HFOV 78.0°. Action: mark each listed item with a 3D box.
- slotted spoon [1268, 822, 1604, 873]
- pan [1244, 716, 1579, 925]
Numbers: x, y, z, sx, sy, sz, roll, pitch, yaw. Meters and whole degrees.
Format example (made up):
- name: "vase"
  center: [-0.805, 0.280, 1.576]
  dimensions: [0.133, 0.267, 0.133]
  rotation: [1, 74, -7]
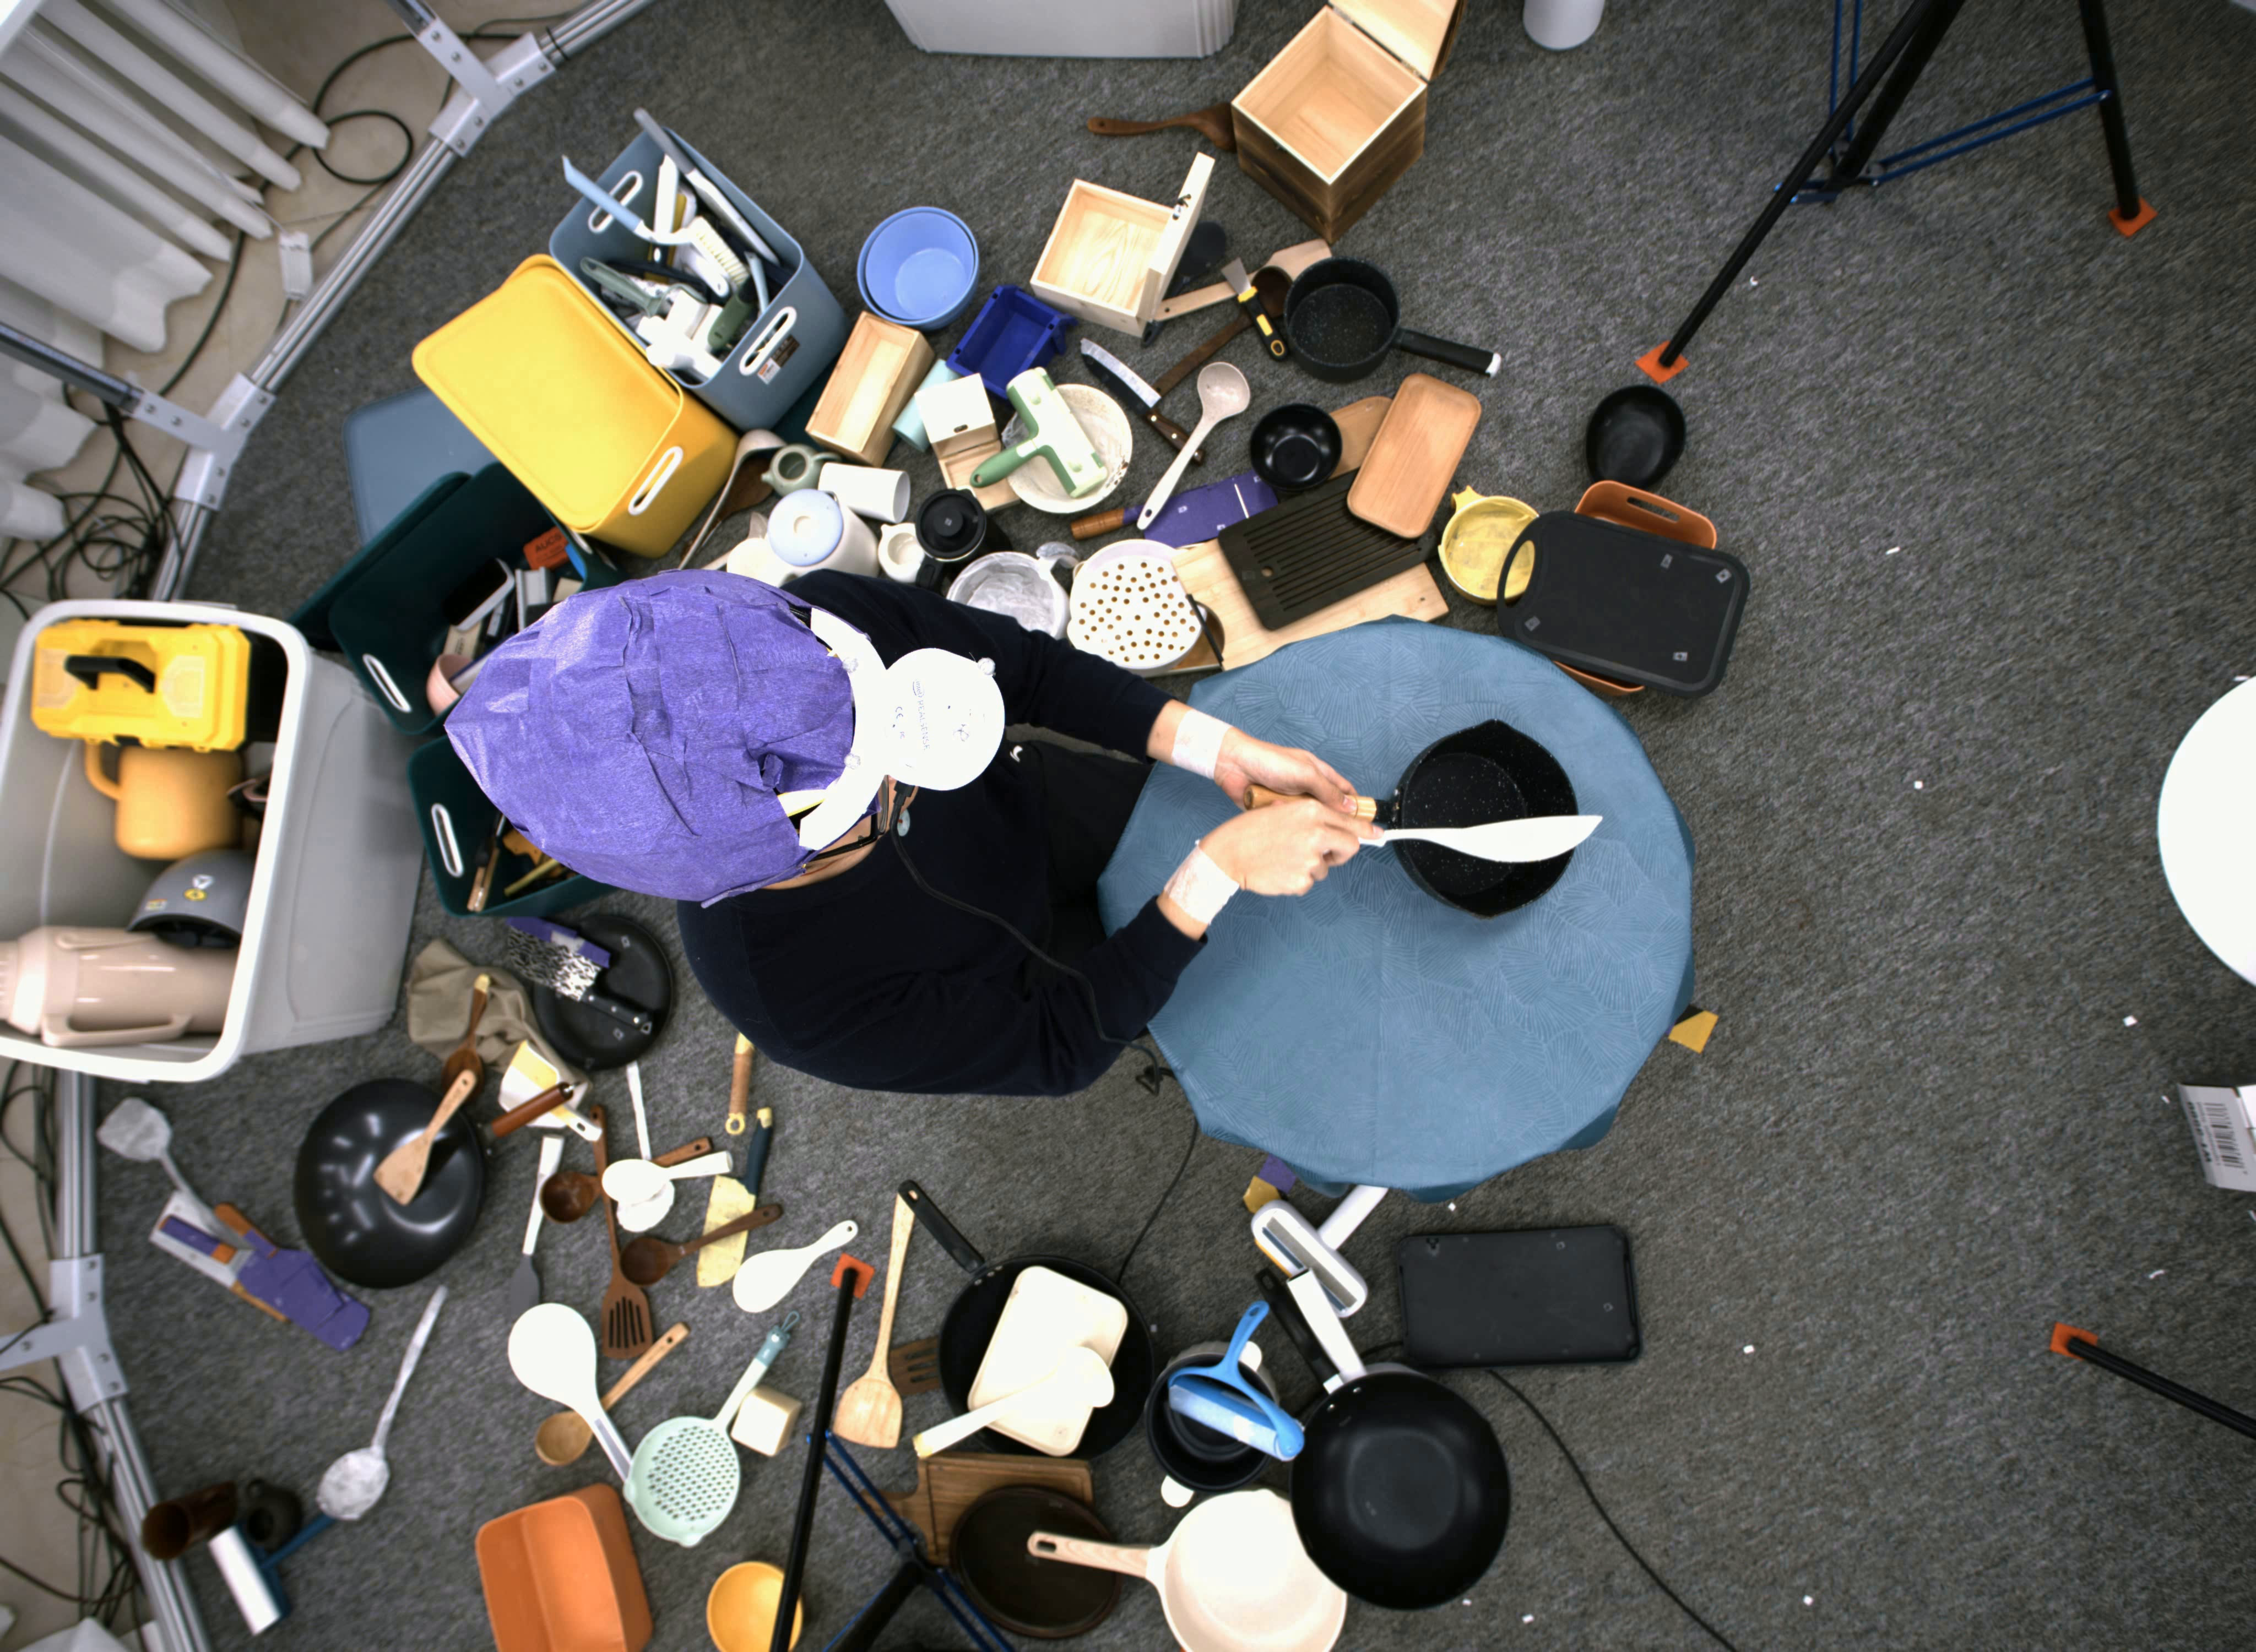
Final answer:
- name: "slotted spoon"
  center: [0.287, 0.018, 1.297]
  dimensions: [0.347, 0.137, 0.050]
  rotation: [0, 90, -20]
- name: "pan"
  center: [0.273, -0.011, 1.368]
  dimensions: [0.343, 0.108, 0.207]
  rotation: [4, 91, -7]
